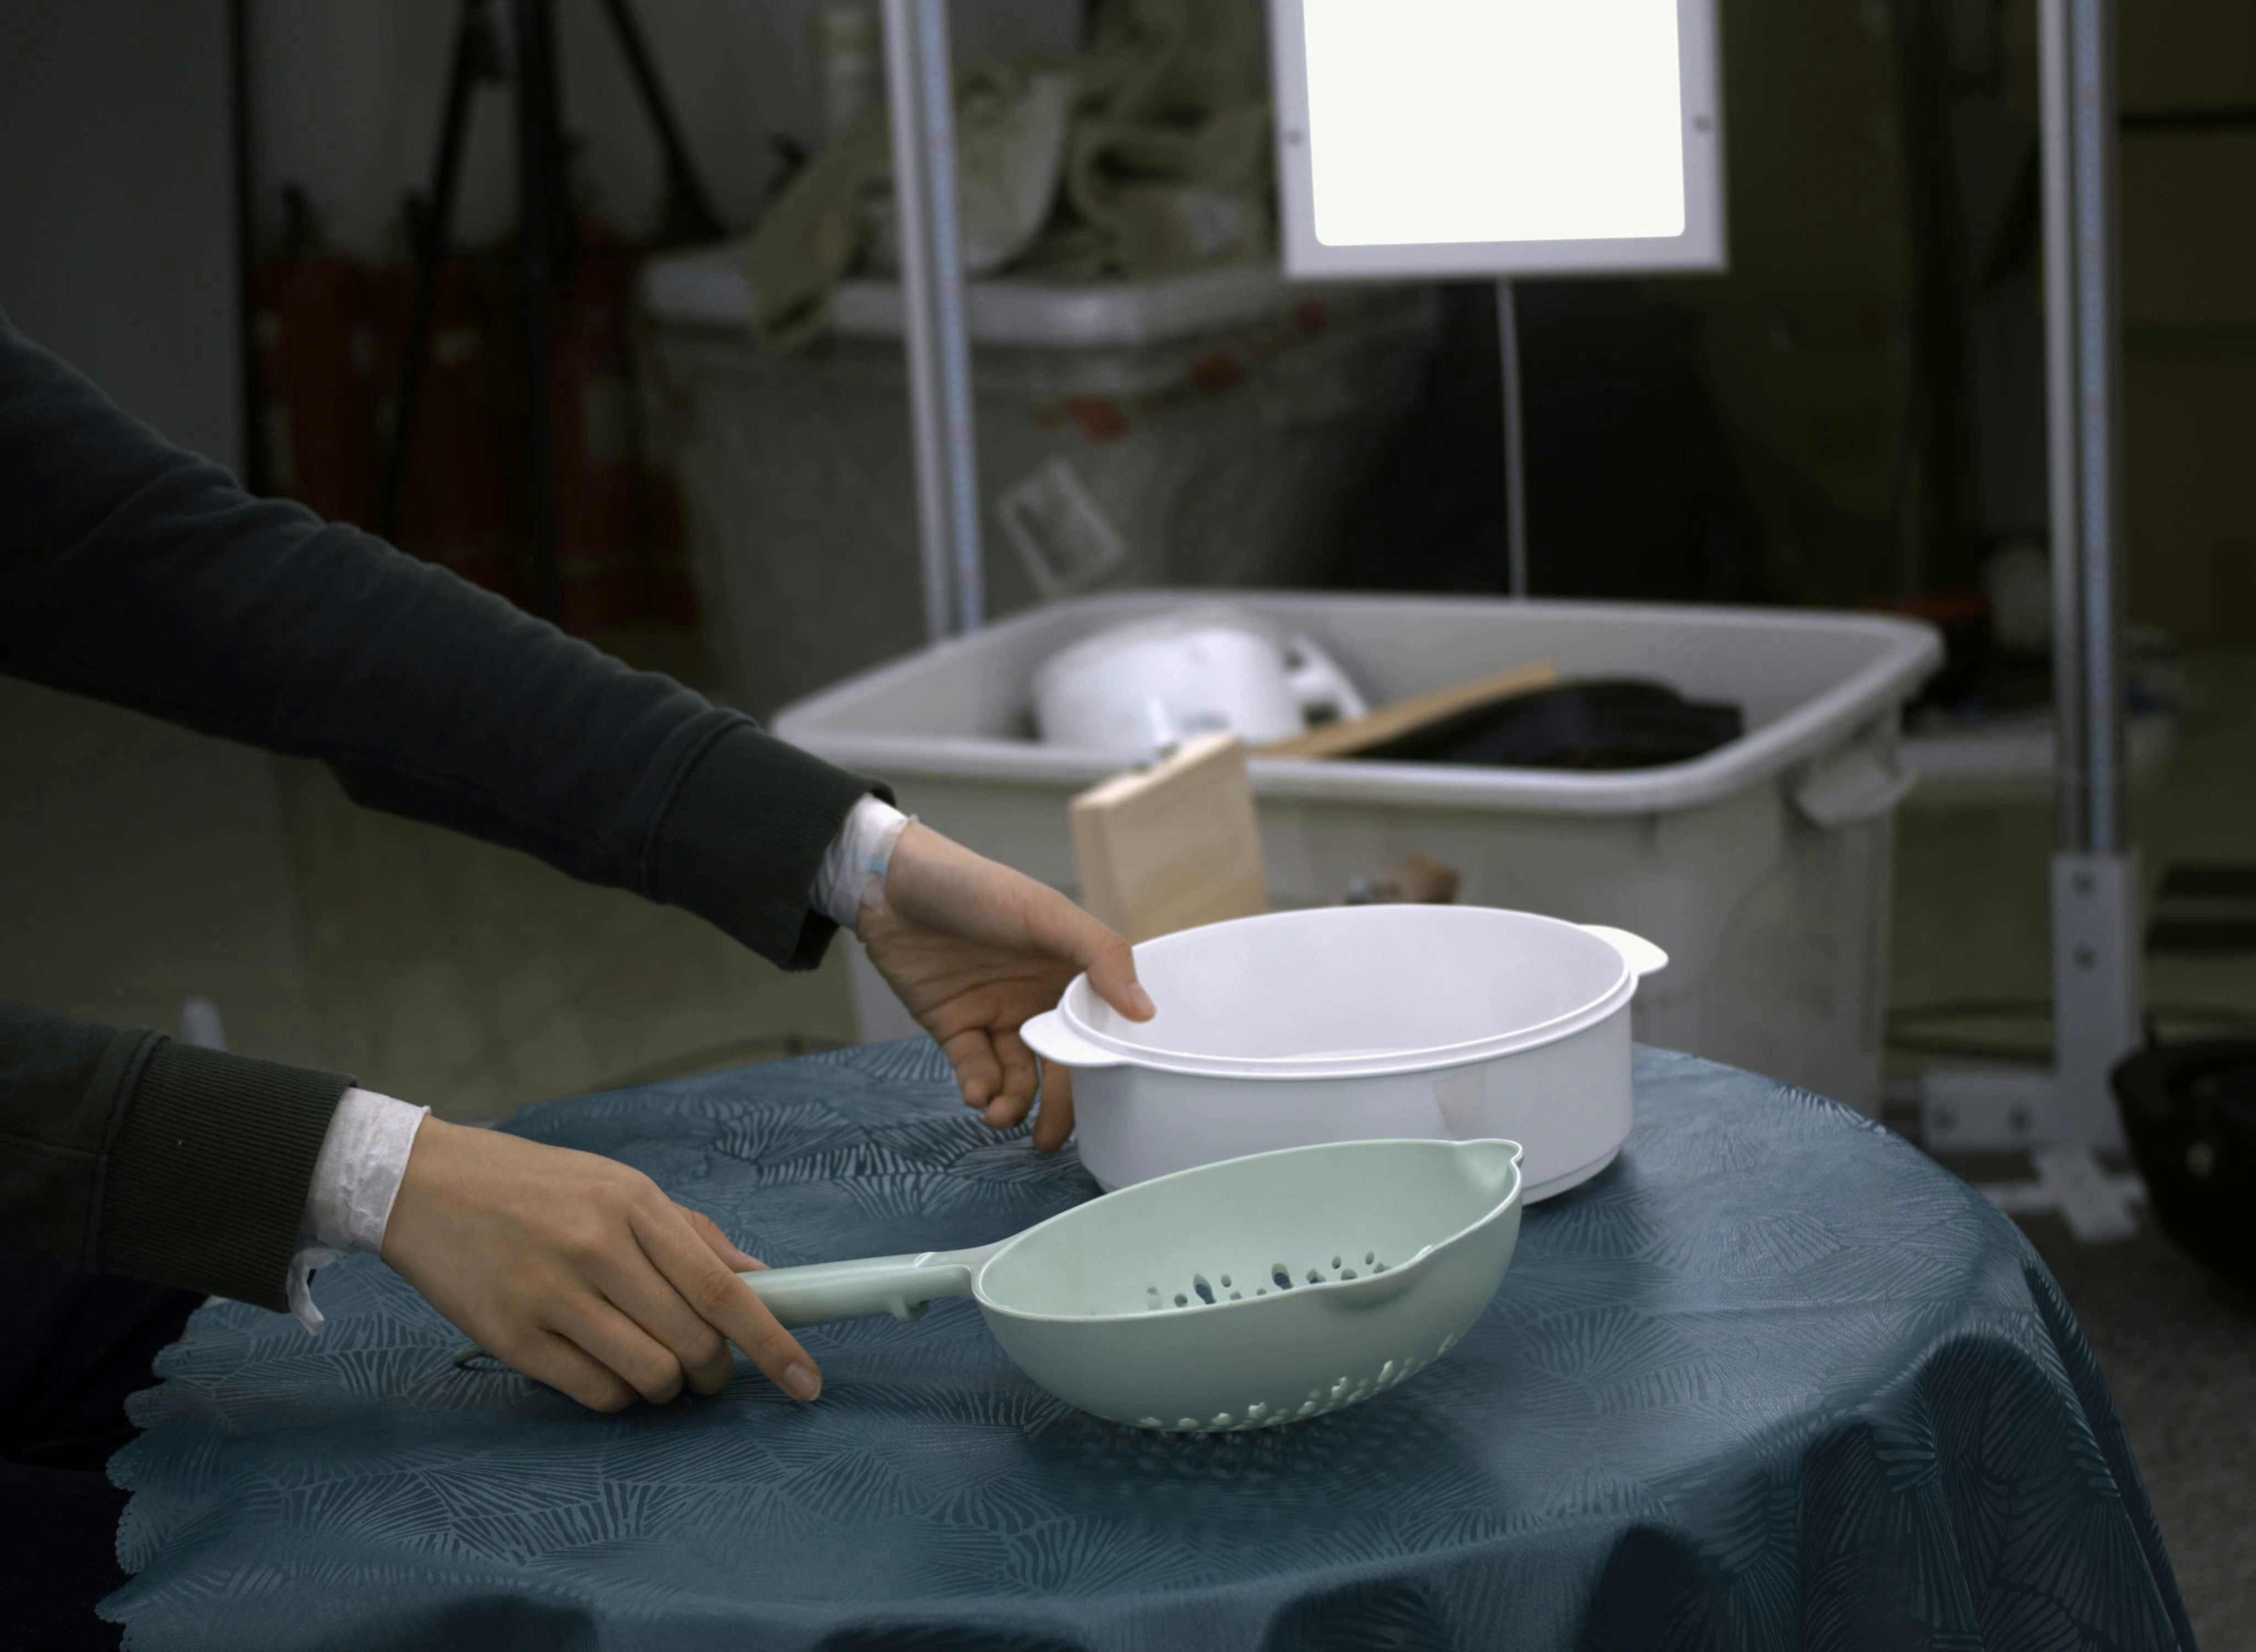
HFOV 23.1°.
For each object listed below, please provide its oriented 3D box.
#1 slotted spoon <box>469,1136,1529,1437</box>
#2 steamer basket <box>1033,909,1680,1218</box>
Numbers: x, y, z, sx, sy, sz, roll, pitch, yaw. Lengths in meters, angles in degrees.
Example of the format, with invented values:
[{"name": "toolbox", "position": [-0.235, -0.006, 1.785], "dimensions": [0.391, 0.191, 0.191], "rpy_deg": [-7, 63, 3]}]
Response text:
[{"name": "slotted spoon", "position": [-0.049, 0.144, 1.707], "dimensions": [0.364, 0.075, 0.166], "rpy_deg": [1, 14, 23]}, {"name": "steamer basket", "position": [0.082, 0.085, 1.900], "dimensions": [0.227, 0.069, 0.204], "rpy_deg": [-9, 14, -17]}]
